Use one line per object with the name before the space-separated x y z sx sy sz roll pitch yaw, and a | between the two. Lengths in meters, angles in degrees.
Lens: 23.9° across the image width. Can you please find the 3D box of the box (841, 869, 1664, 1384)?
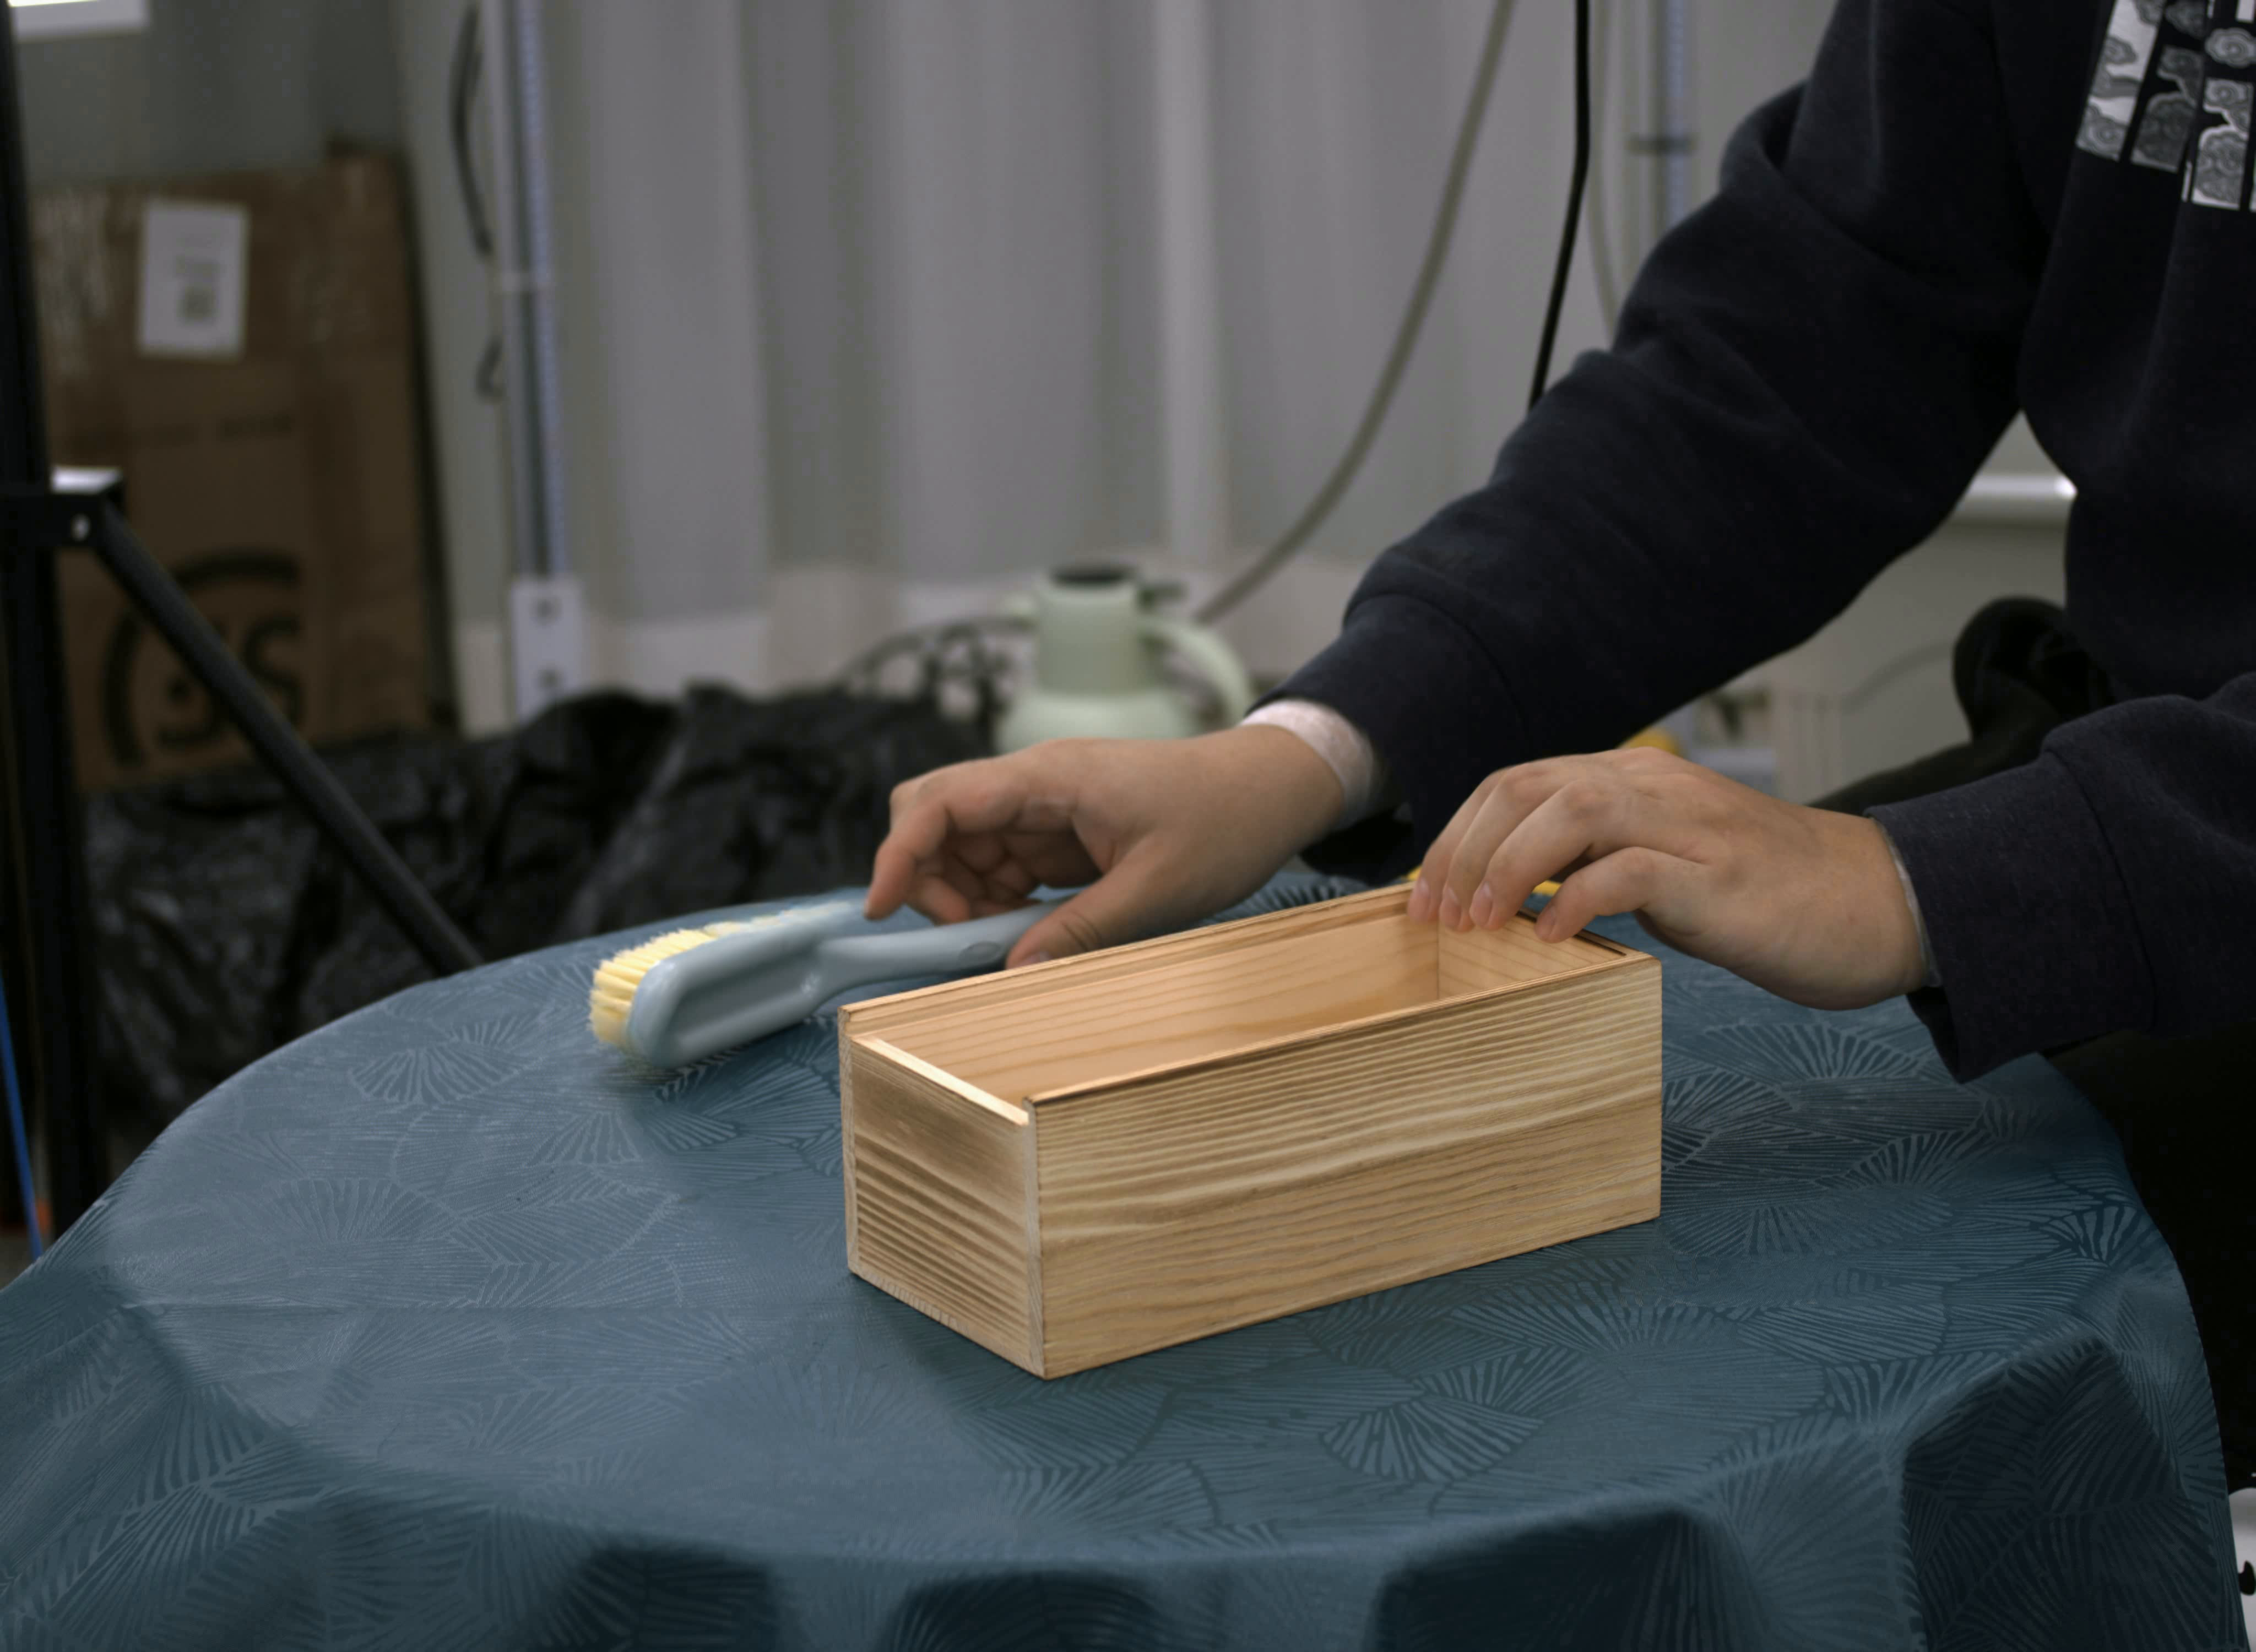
box | 0.037 0.081 1.499 0.207 0.080 0.110 -12 19 -30

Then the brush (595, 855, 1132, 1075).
brush | -0.082 0.039 1.745 0.223 0.038 0.051 -16 19 -41
